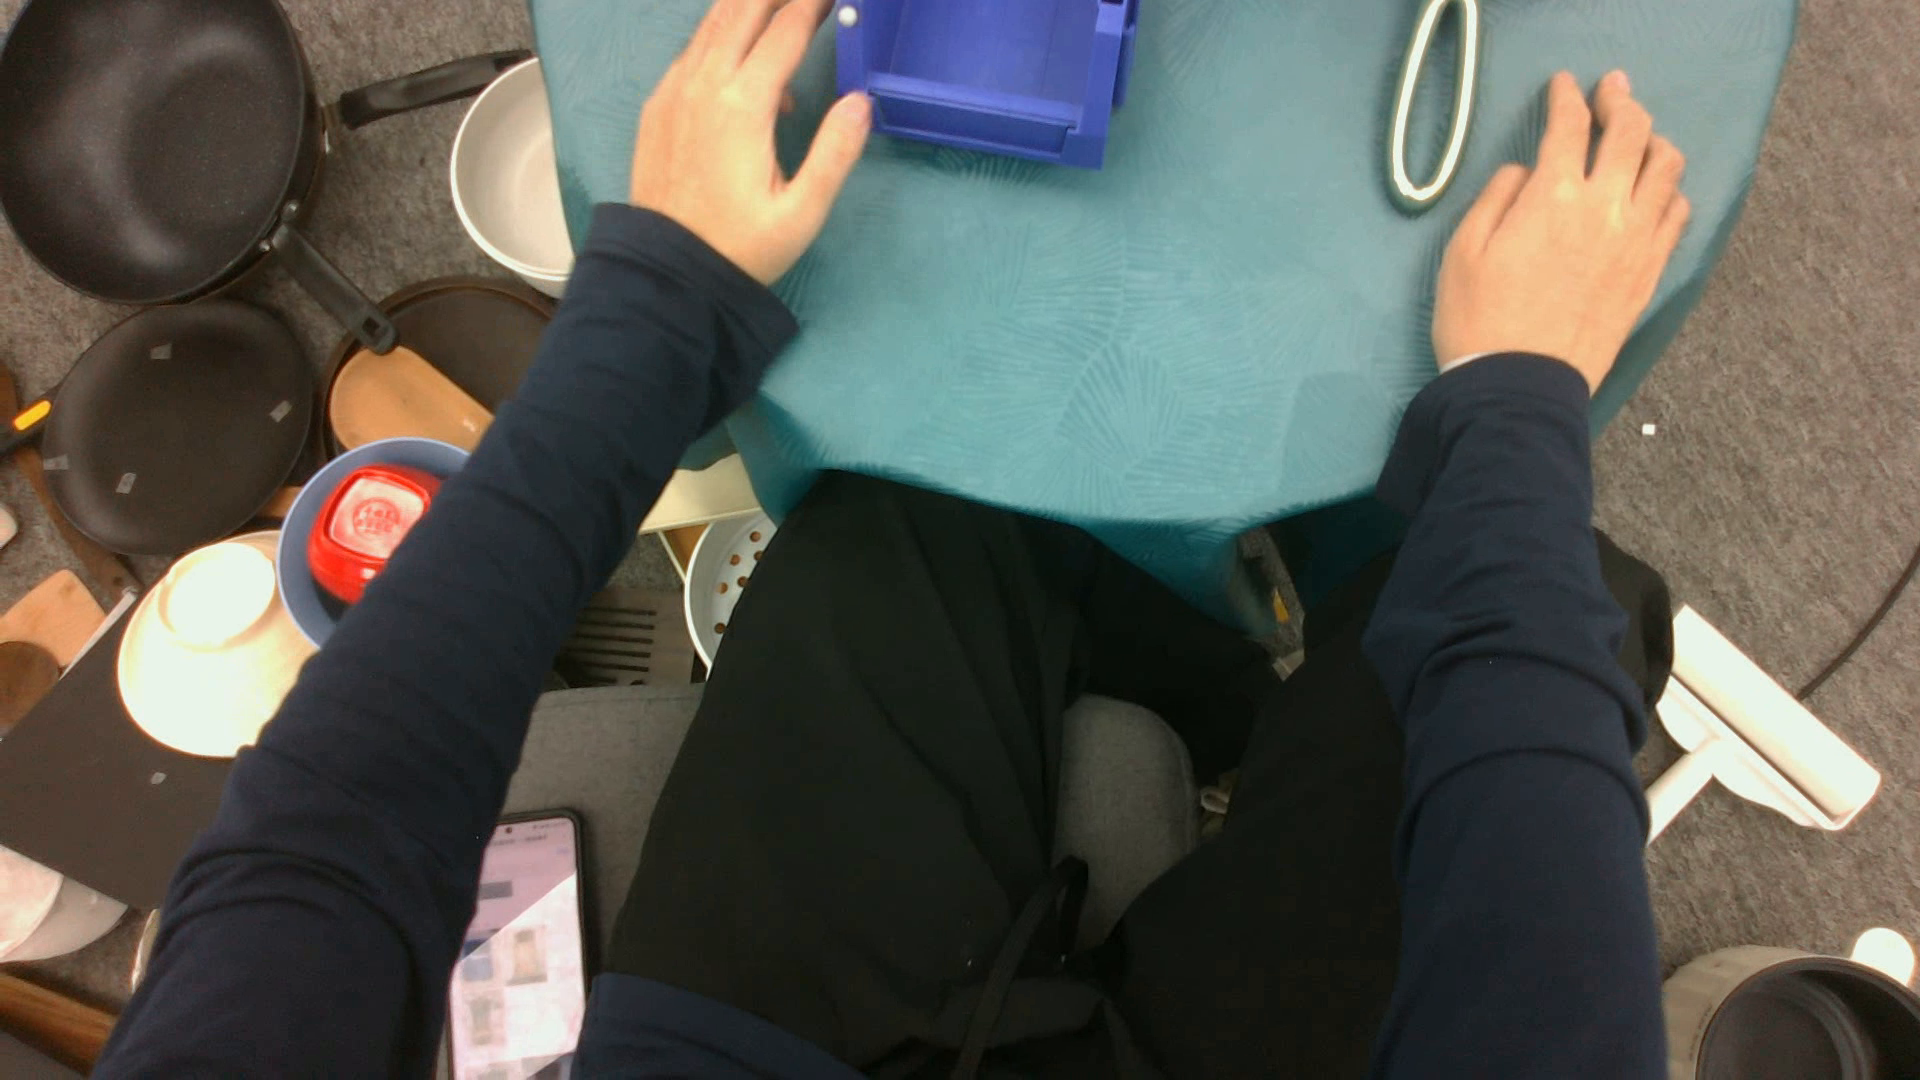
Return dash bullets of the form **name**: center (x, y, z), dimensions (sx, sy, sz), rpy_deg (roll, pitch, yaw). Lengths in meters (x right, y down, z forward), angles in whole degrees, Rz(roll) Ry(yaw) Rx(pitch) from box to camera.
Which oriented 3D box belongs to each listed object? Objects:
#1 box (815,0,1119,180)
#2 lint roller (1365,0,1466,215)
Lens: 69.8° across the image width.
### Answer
- **box**: center (0.015, -0.262, 0.613), dimensions (0.124, 0.082, 0.180), rpy_deg (12, 79, 3)
- **lint roller**: center (0.214, -0.241, 0.623), dimensions (0.134, 0.048, 0.180), rpy_deg (11, 84, 5)
